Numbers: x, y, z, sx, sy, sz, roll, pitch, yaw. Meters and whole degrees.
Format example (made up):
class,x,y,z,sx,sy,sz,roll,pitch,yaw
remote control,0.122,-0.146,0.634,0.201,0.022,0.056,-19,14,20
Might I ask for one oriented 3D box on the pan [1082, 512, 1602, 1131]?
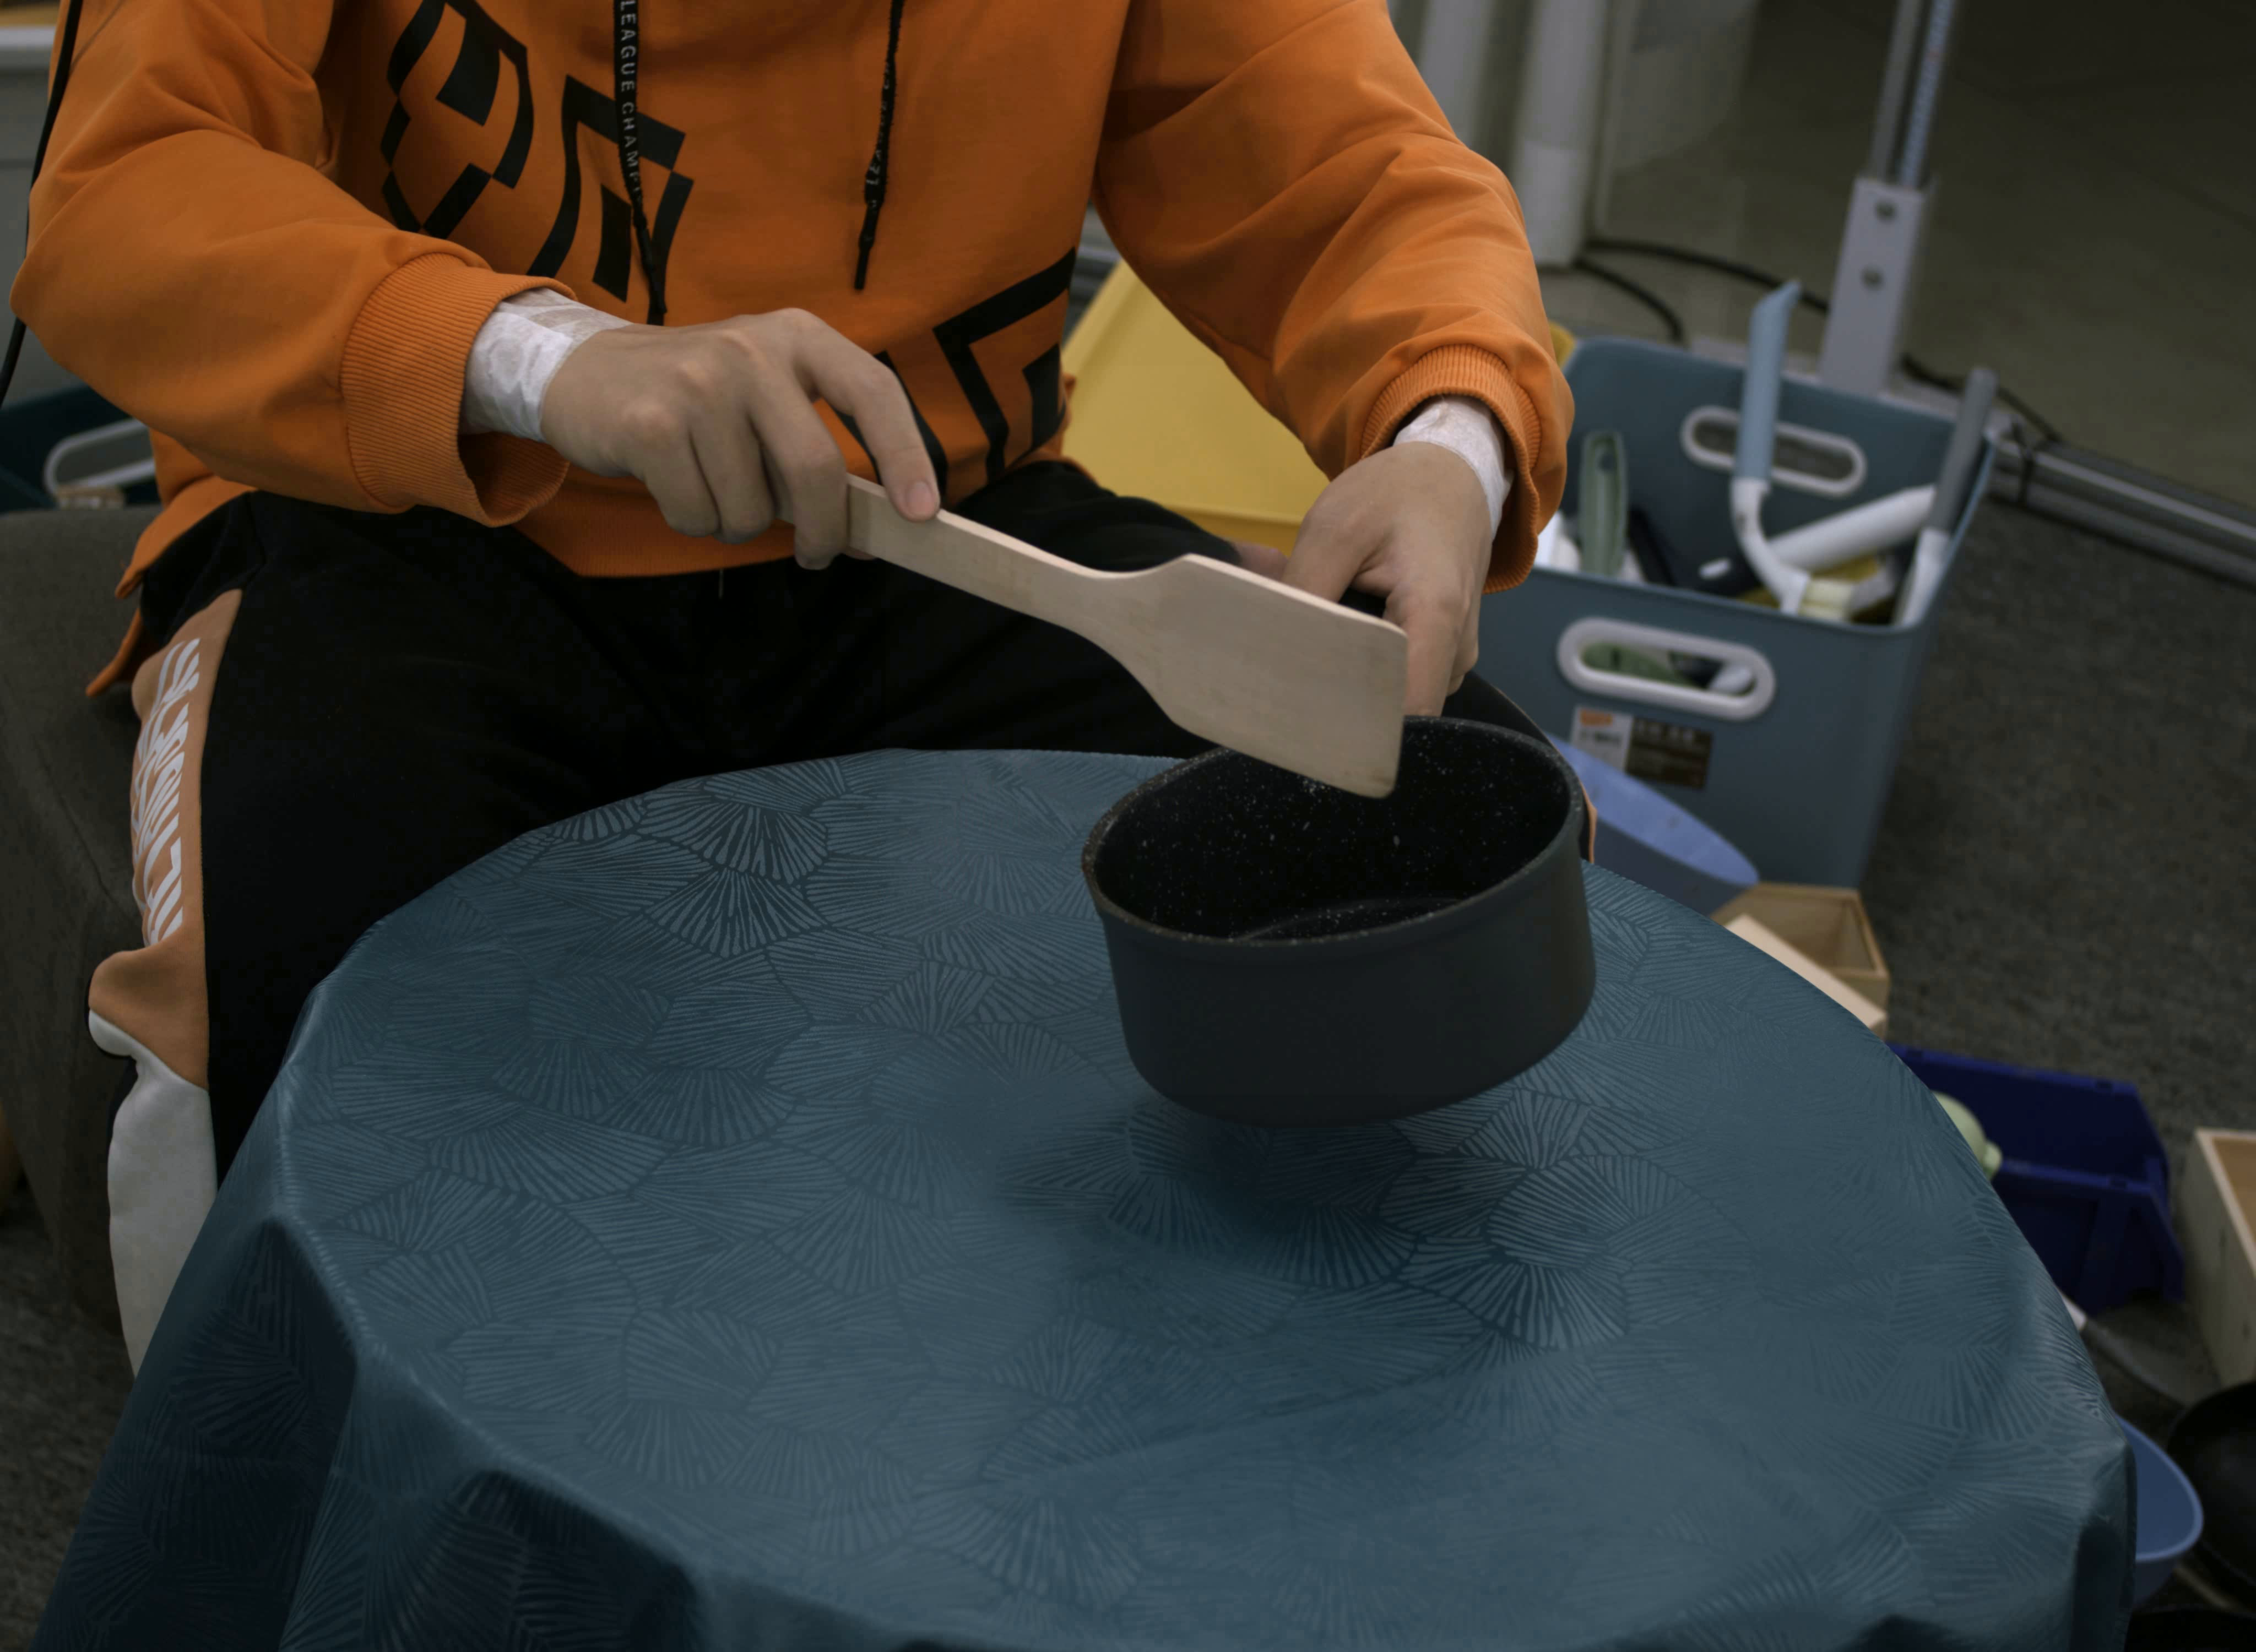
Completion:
class,x,y,z,sx,sy,sz,roll,pitch,yaw
pan,0.081,-0.005,1.875,0.172,0.086,0.330,-6,27,9

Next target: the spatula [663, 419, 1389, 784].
class,x,y,z,sx,sy,sz,roll,pitch,yaw
spatula,-0.040,-0.088,1.820,0.294,0.072,0.010,21,42,25
